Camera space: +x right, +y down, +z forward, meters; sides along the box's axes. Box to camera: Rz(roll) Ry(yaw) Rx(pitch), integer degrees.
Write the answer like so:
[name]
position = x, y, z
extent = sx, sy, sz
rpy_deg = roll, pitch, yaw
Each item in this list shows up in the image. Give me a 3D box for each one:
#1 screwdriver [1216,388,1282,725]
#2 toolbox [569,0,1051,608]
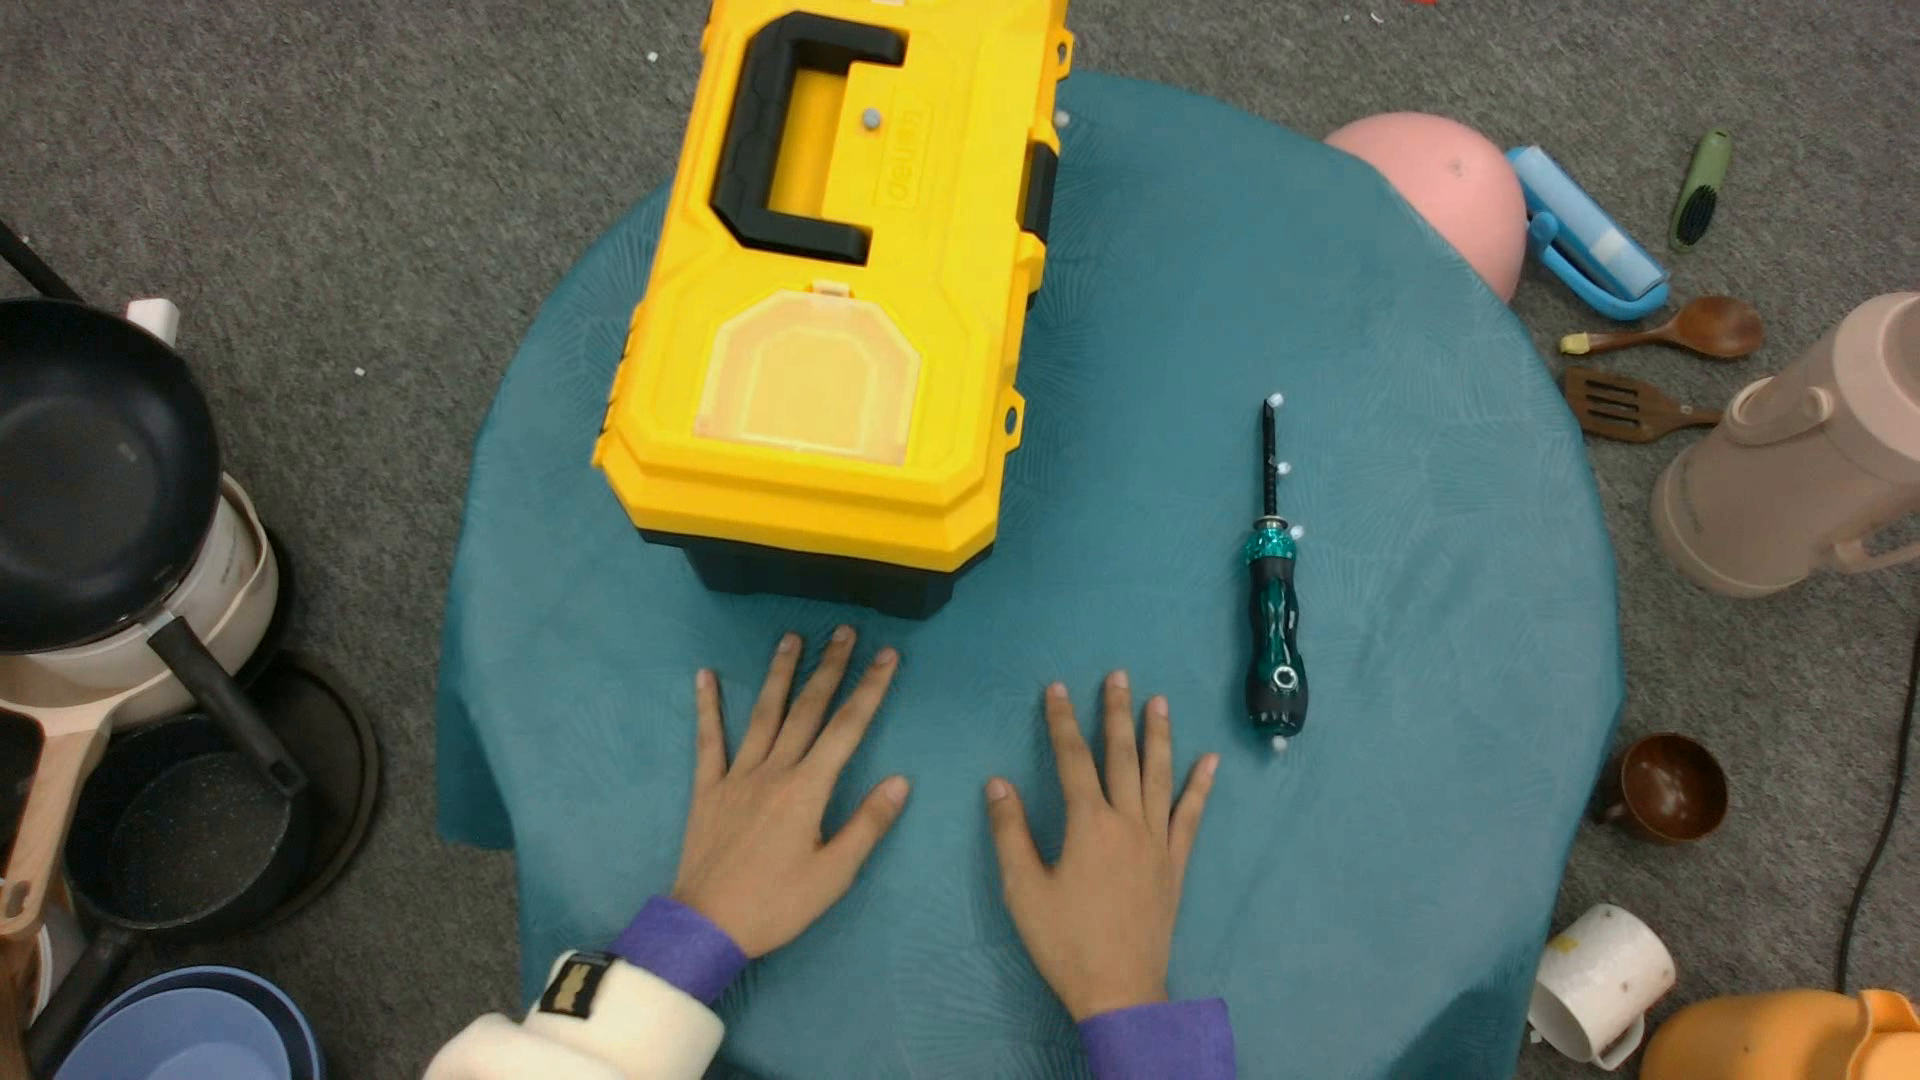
[screwdriver]
position = 0.147, 0.003, 0.711
extent = 0.034, 0.033, 0.191
rpy_deg = 5, 63, -2
[toolbox]
position = -0.061, -0.148, 0.673
extent = 0.181, 0.172, 0.352
rpy_deg = 9, 67, -1
